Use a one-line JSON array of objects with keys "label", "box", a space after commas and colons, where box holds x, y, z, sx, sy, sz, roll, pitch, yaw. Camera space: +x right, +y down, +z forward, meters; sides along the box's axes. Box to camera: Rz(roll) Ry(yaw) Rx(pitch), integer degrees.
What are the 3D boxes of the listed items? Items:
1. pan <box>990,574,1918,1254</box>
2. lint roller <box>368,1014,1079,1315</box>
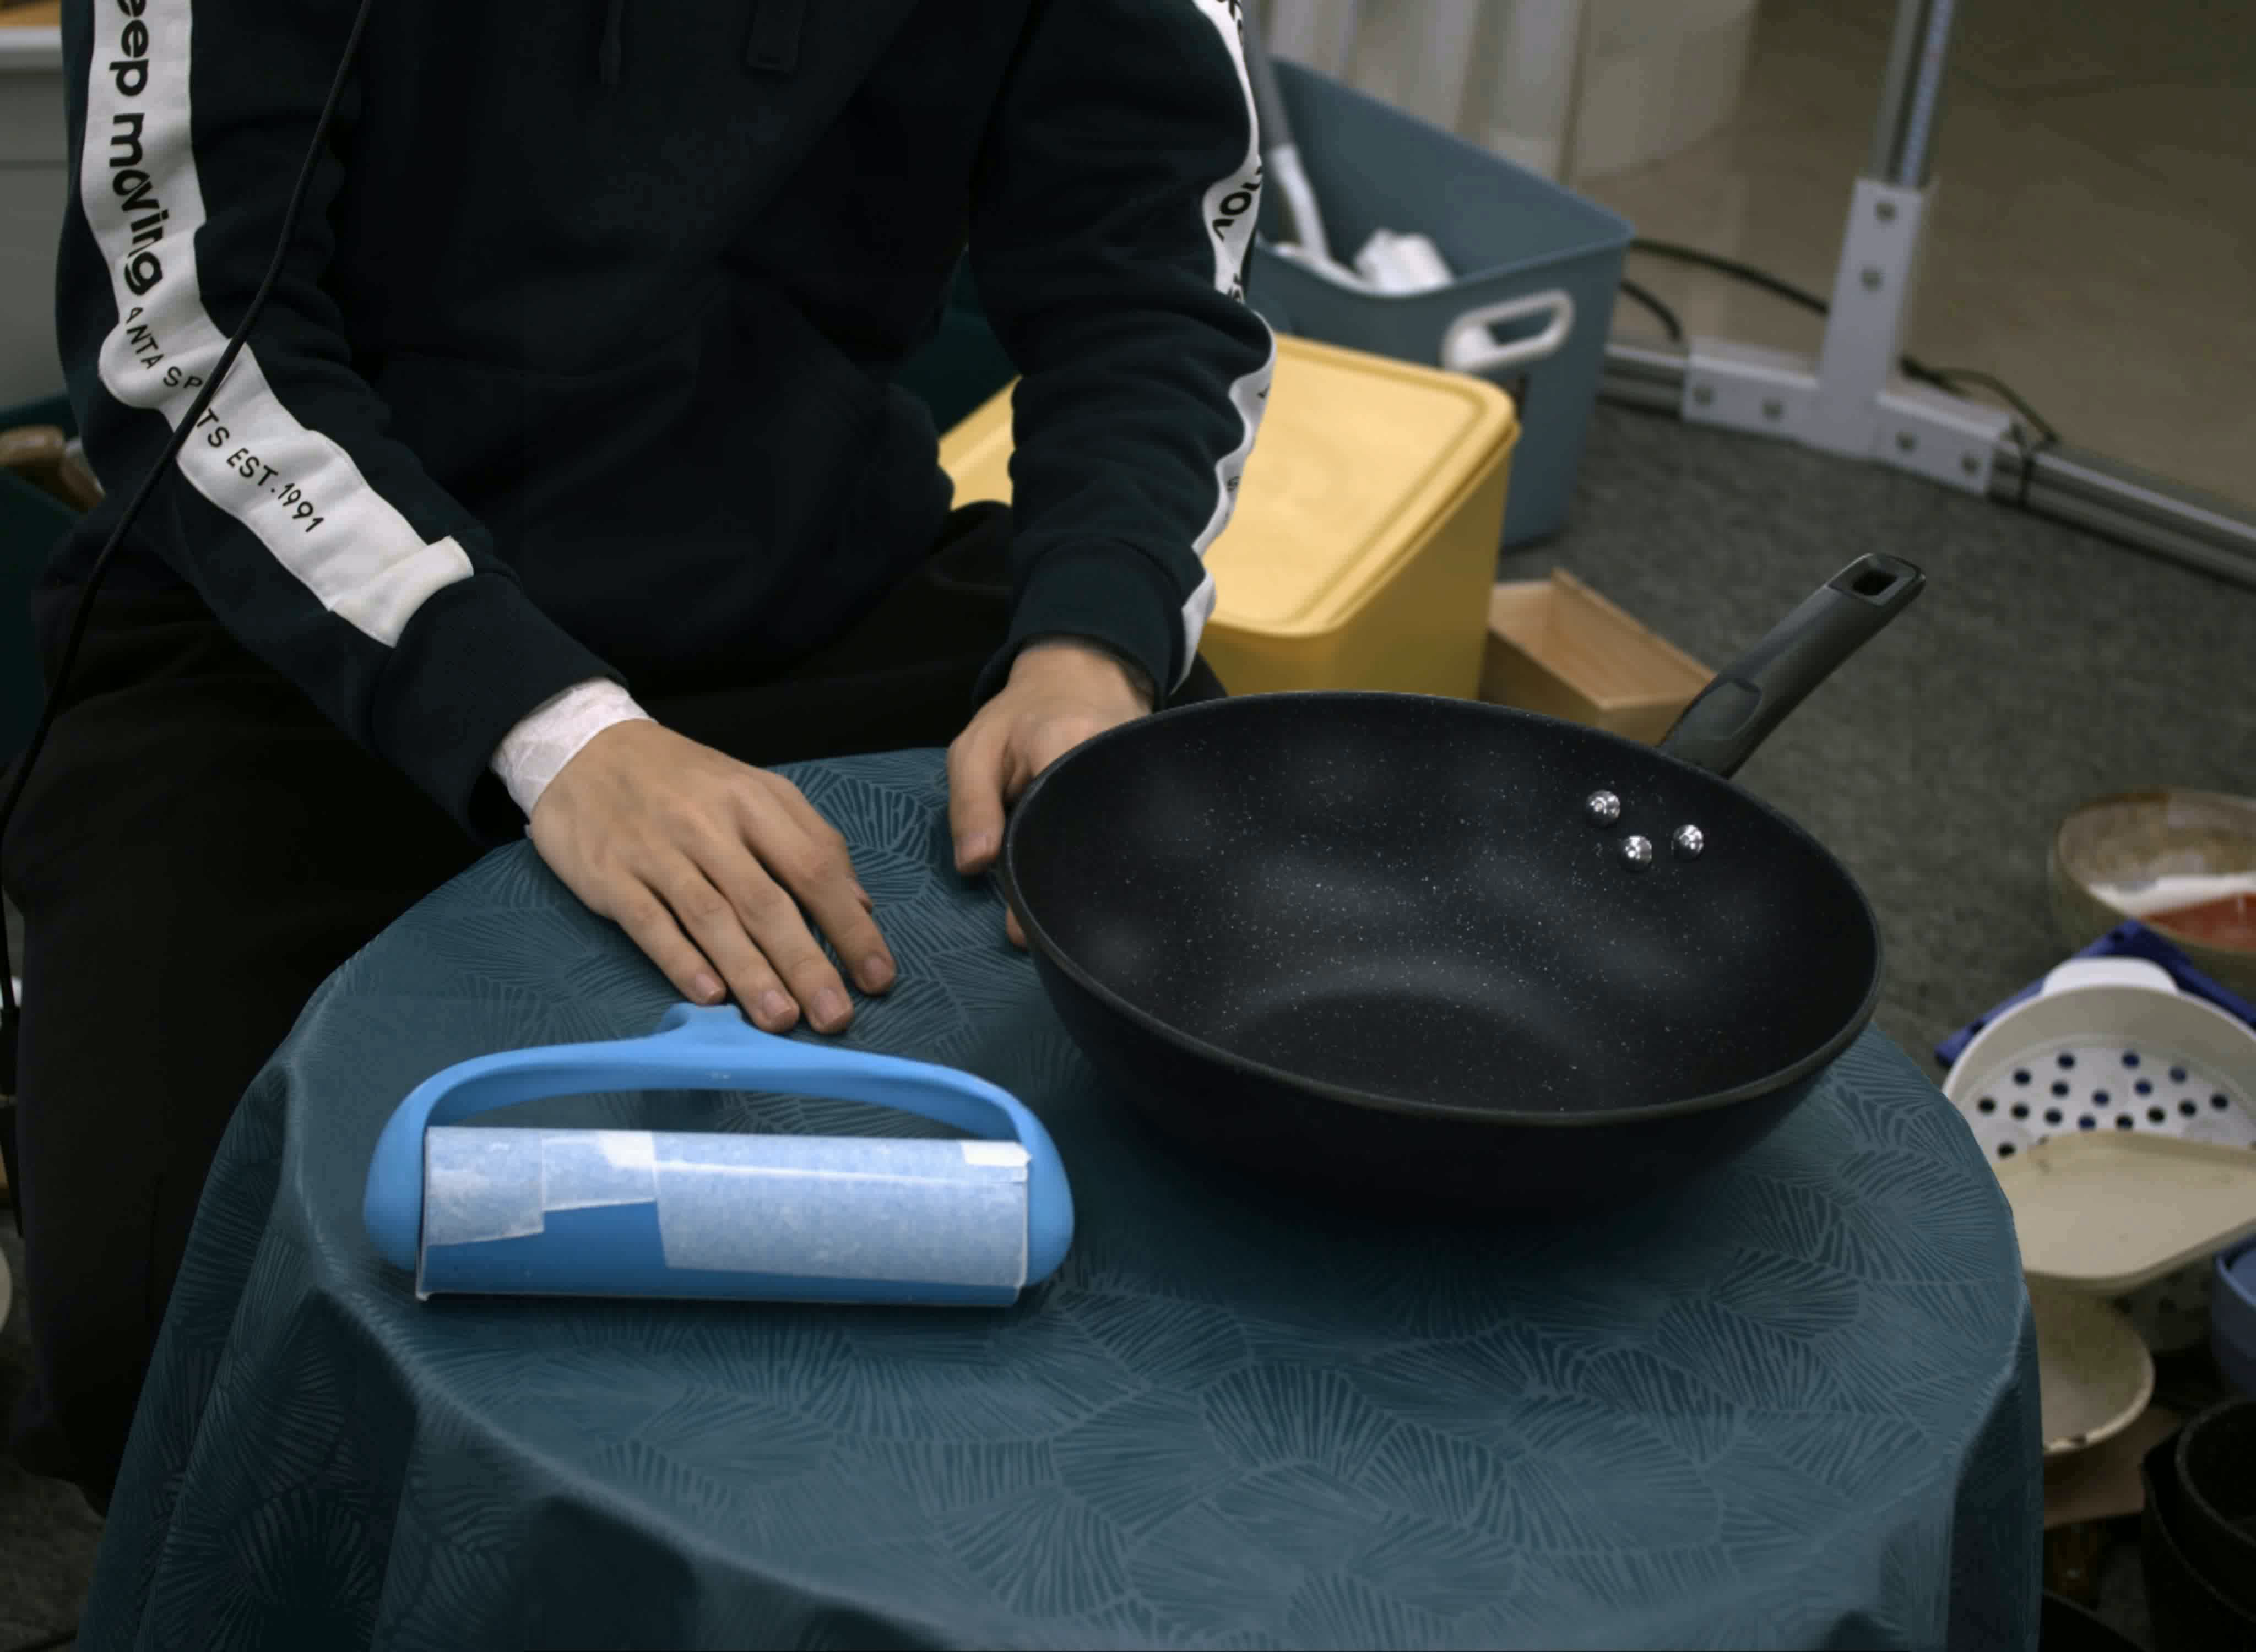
[{"label": "pan", "box": [0.151, 0.027, 1.906, 0.312, 0.111, 0.475, 24, 32, 28]}, {"label": "lint roller", "box": [-0.139, 0.098, 1.756, 0.228, 0.067, 0.182, -2, 30, -10]}]
